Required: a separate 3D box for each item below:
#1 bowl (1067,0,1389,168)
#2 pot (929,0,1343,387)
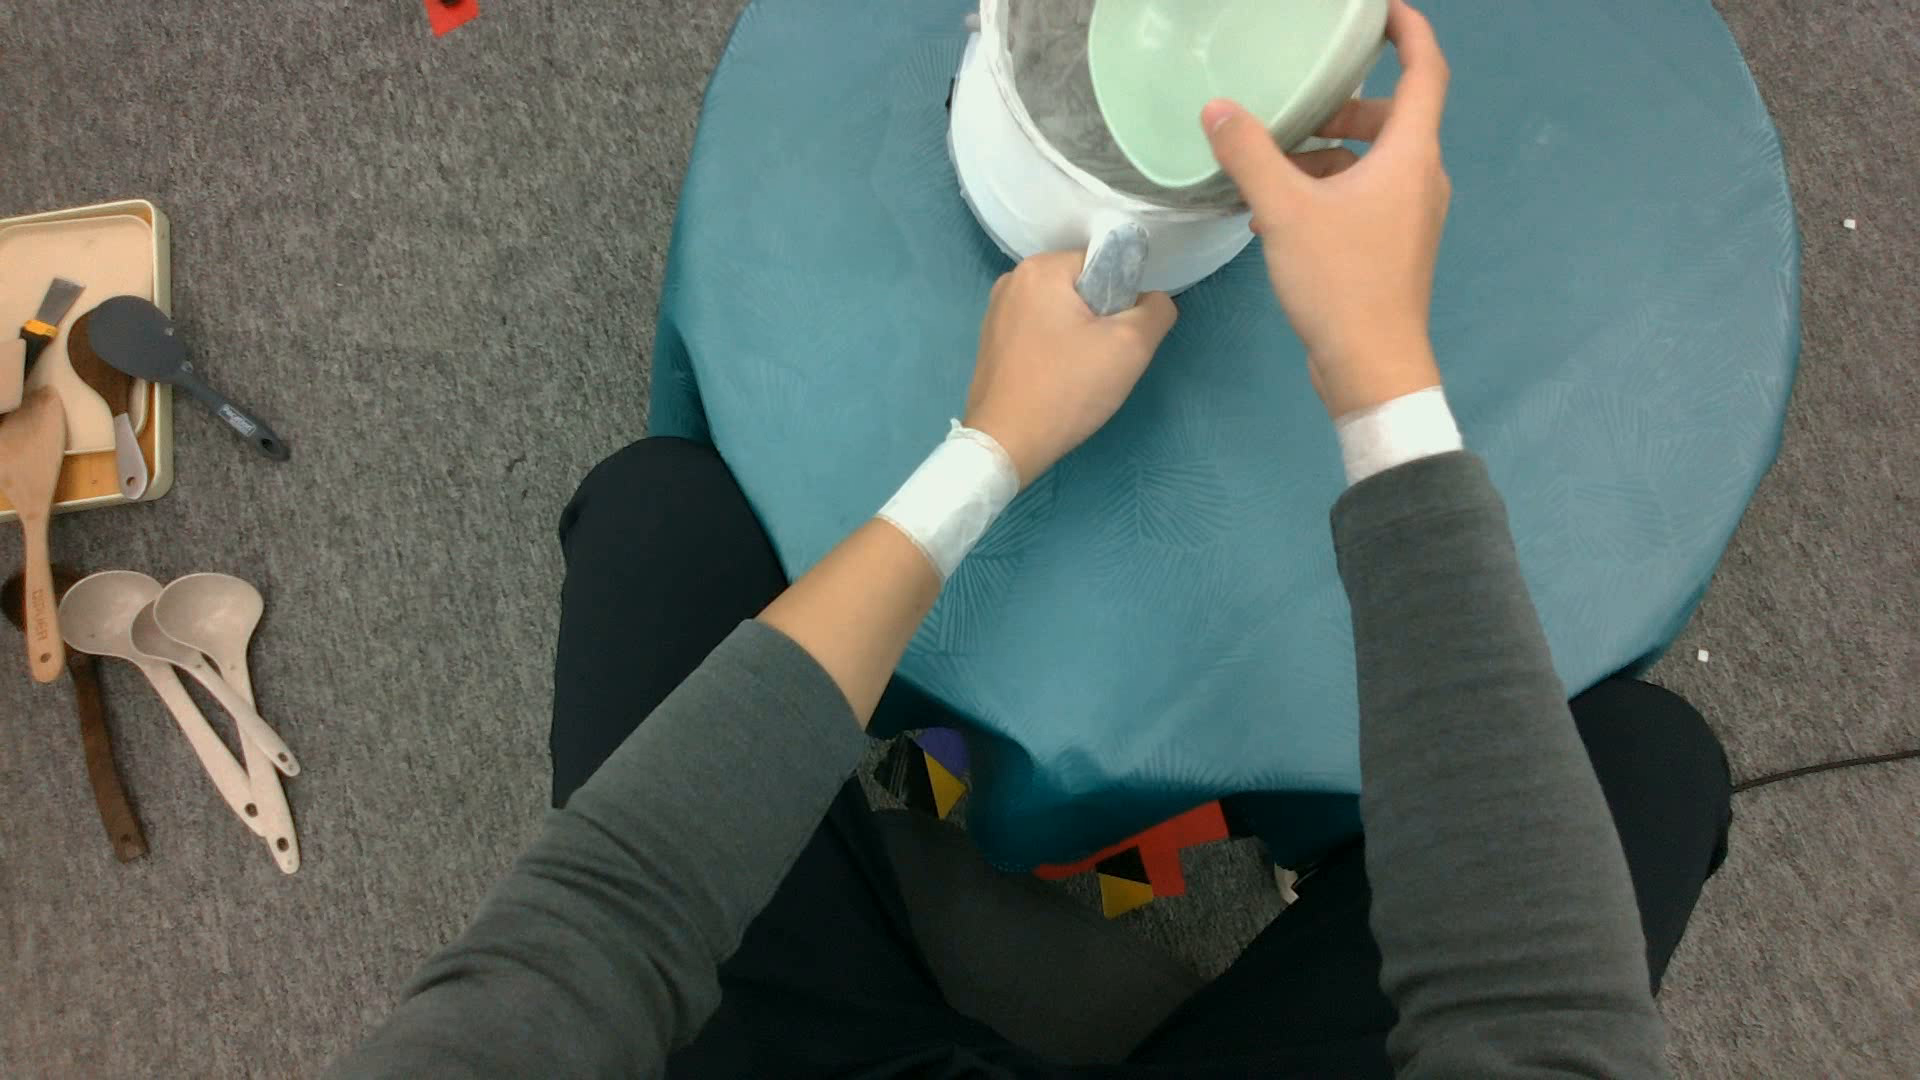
[{"bbox_3d":[0.121,-0.221,0.587,0.151,0.059,0.152,-14,68,37],"label":"bowl"},{"bbox_3d":[0.074,-0.195,0.671,0.179,0.136,0.234,13,78,-7],"label":"pot"}]
